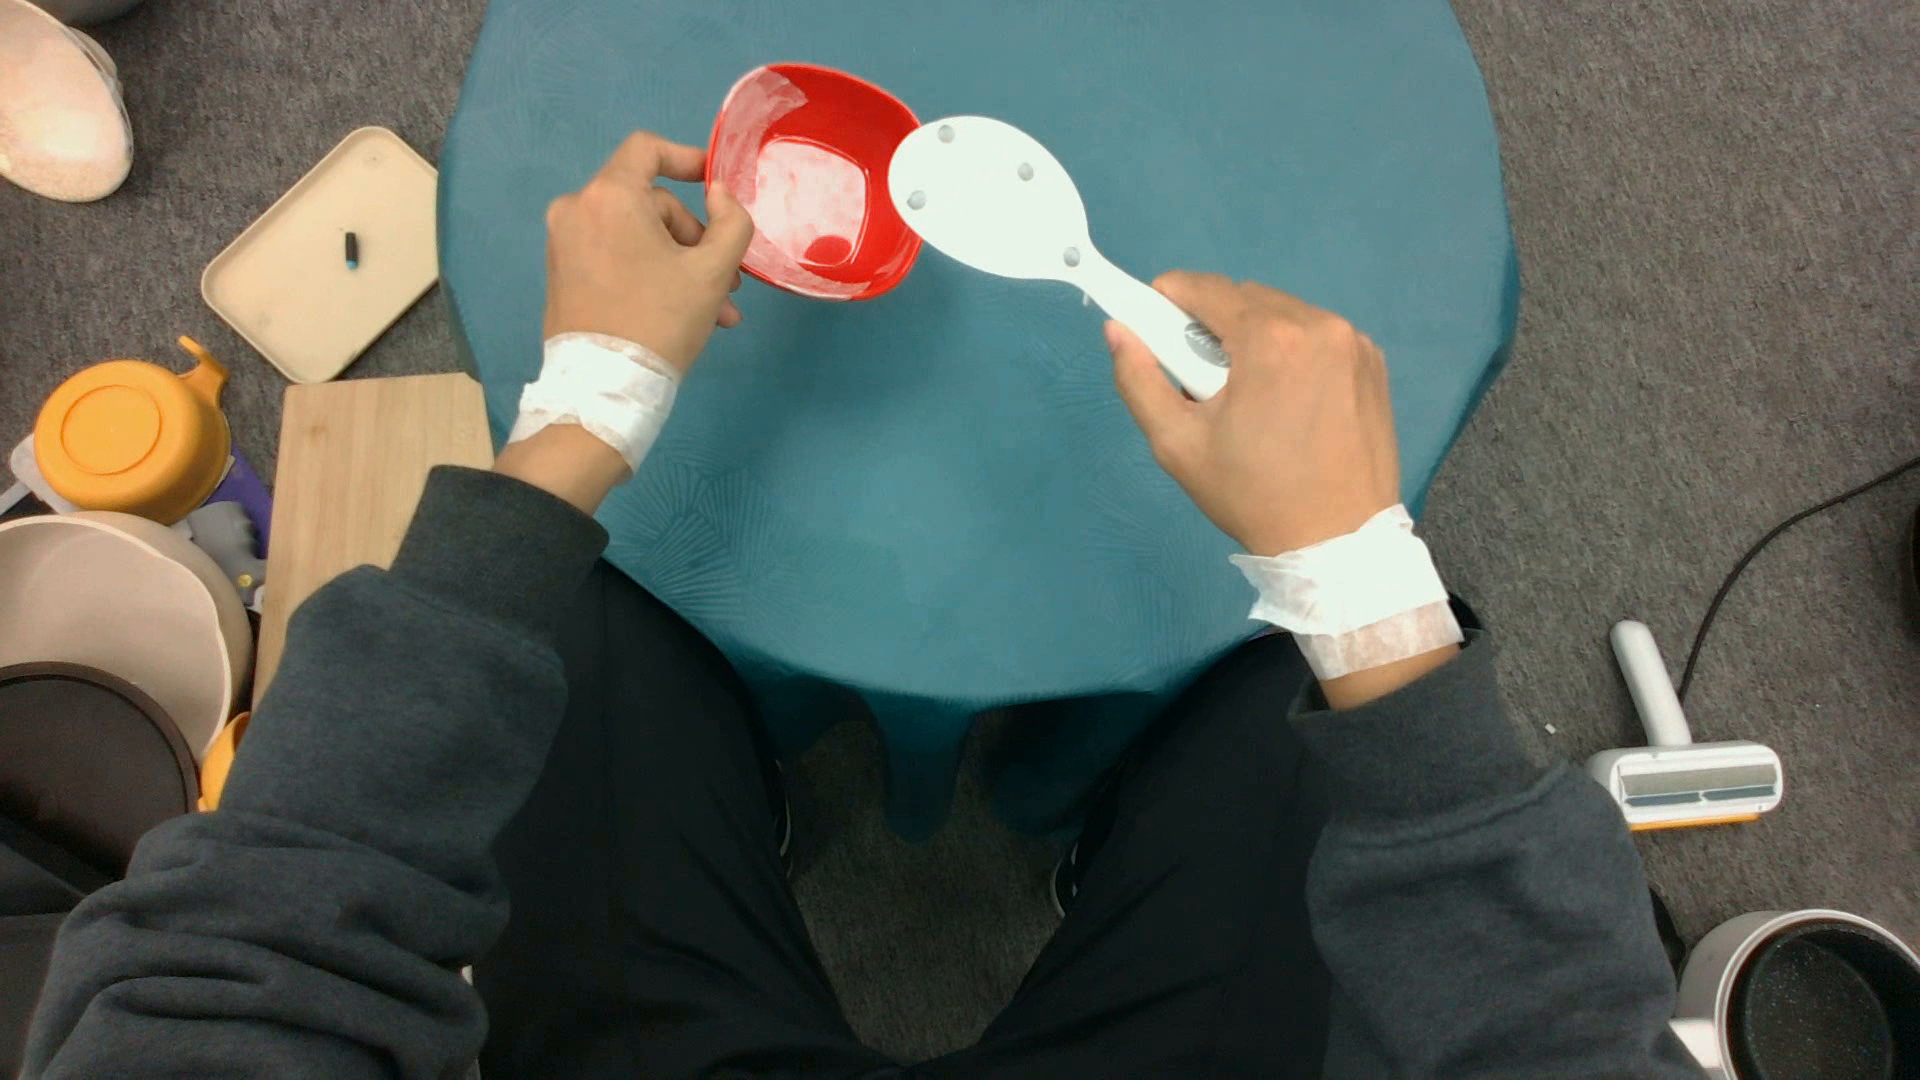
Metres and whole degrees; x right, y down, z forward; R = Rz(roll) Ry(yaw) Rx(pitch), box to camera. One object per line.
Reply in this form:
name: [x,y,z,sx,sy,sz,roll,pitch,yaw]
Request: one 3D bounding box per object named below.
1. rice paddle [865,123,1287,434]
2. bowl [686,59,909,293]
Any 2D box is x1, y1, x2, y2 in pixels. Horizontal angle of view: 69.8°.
rice paddle: [0.044,-0.115,0.575,0.205,0.029,0.069,38,69,15]
bowl: [-0.083,-0.174,0.683,0.119,0.051,0.119,1,87,-19]
